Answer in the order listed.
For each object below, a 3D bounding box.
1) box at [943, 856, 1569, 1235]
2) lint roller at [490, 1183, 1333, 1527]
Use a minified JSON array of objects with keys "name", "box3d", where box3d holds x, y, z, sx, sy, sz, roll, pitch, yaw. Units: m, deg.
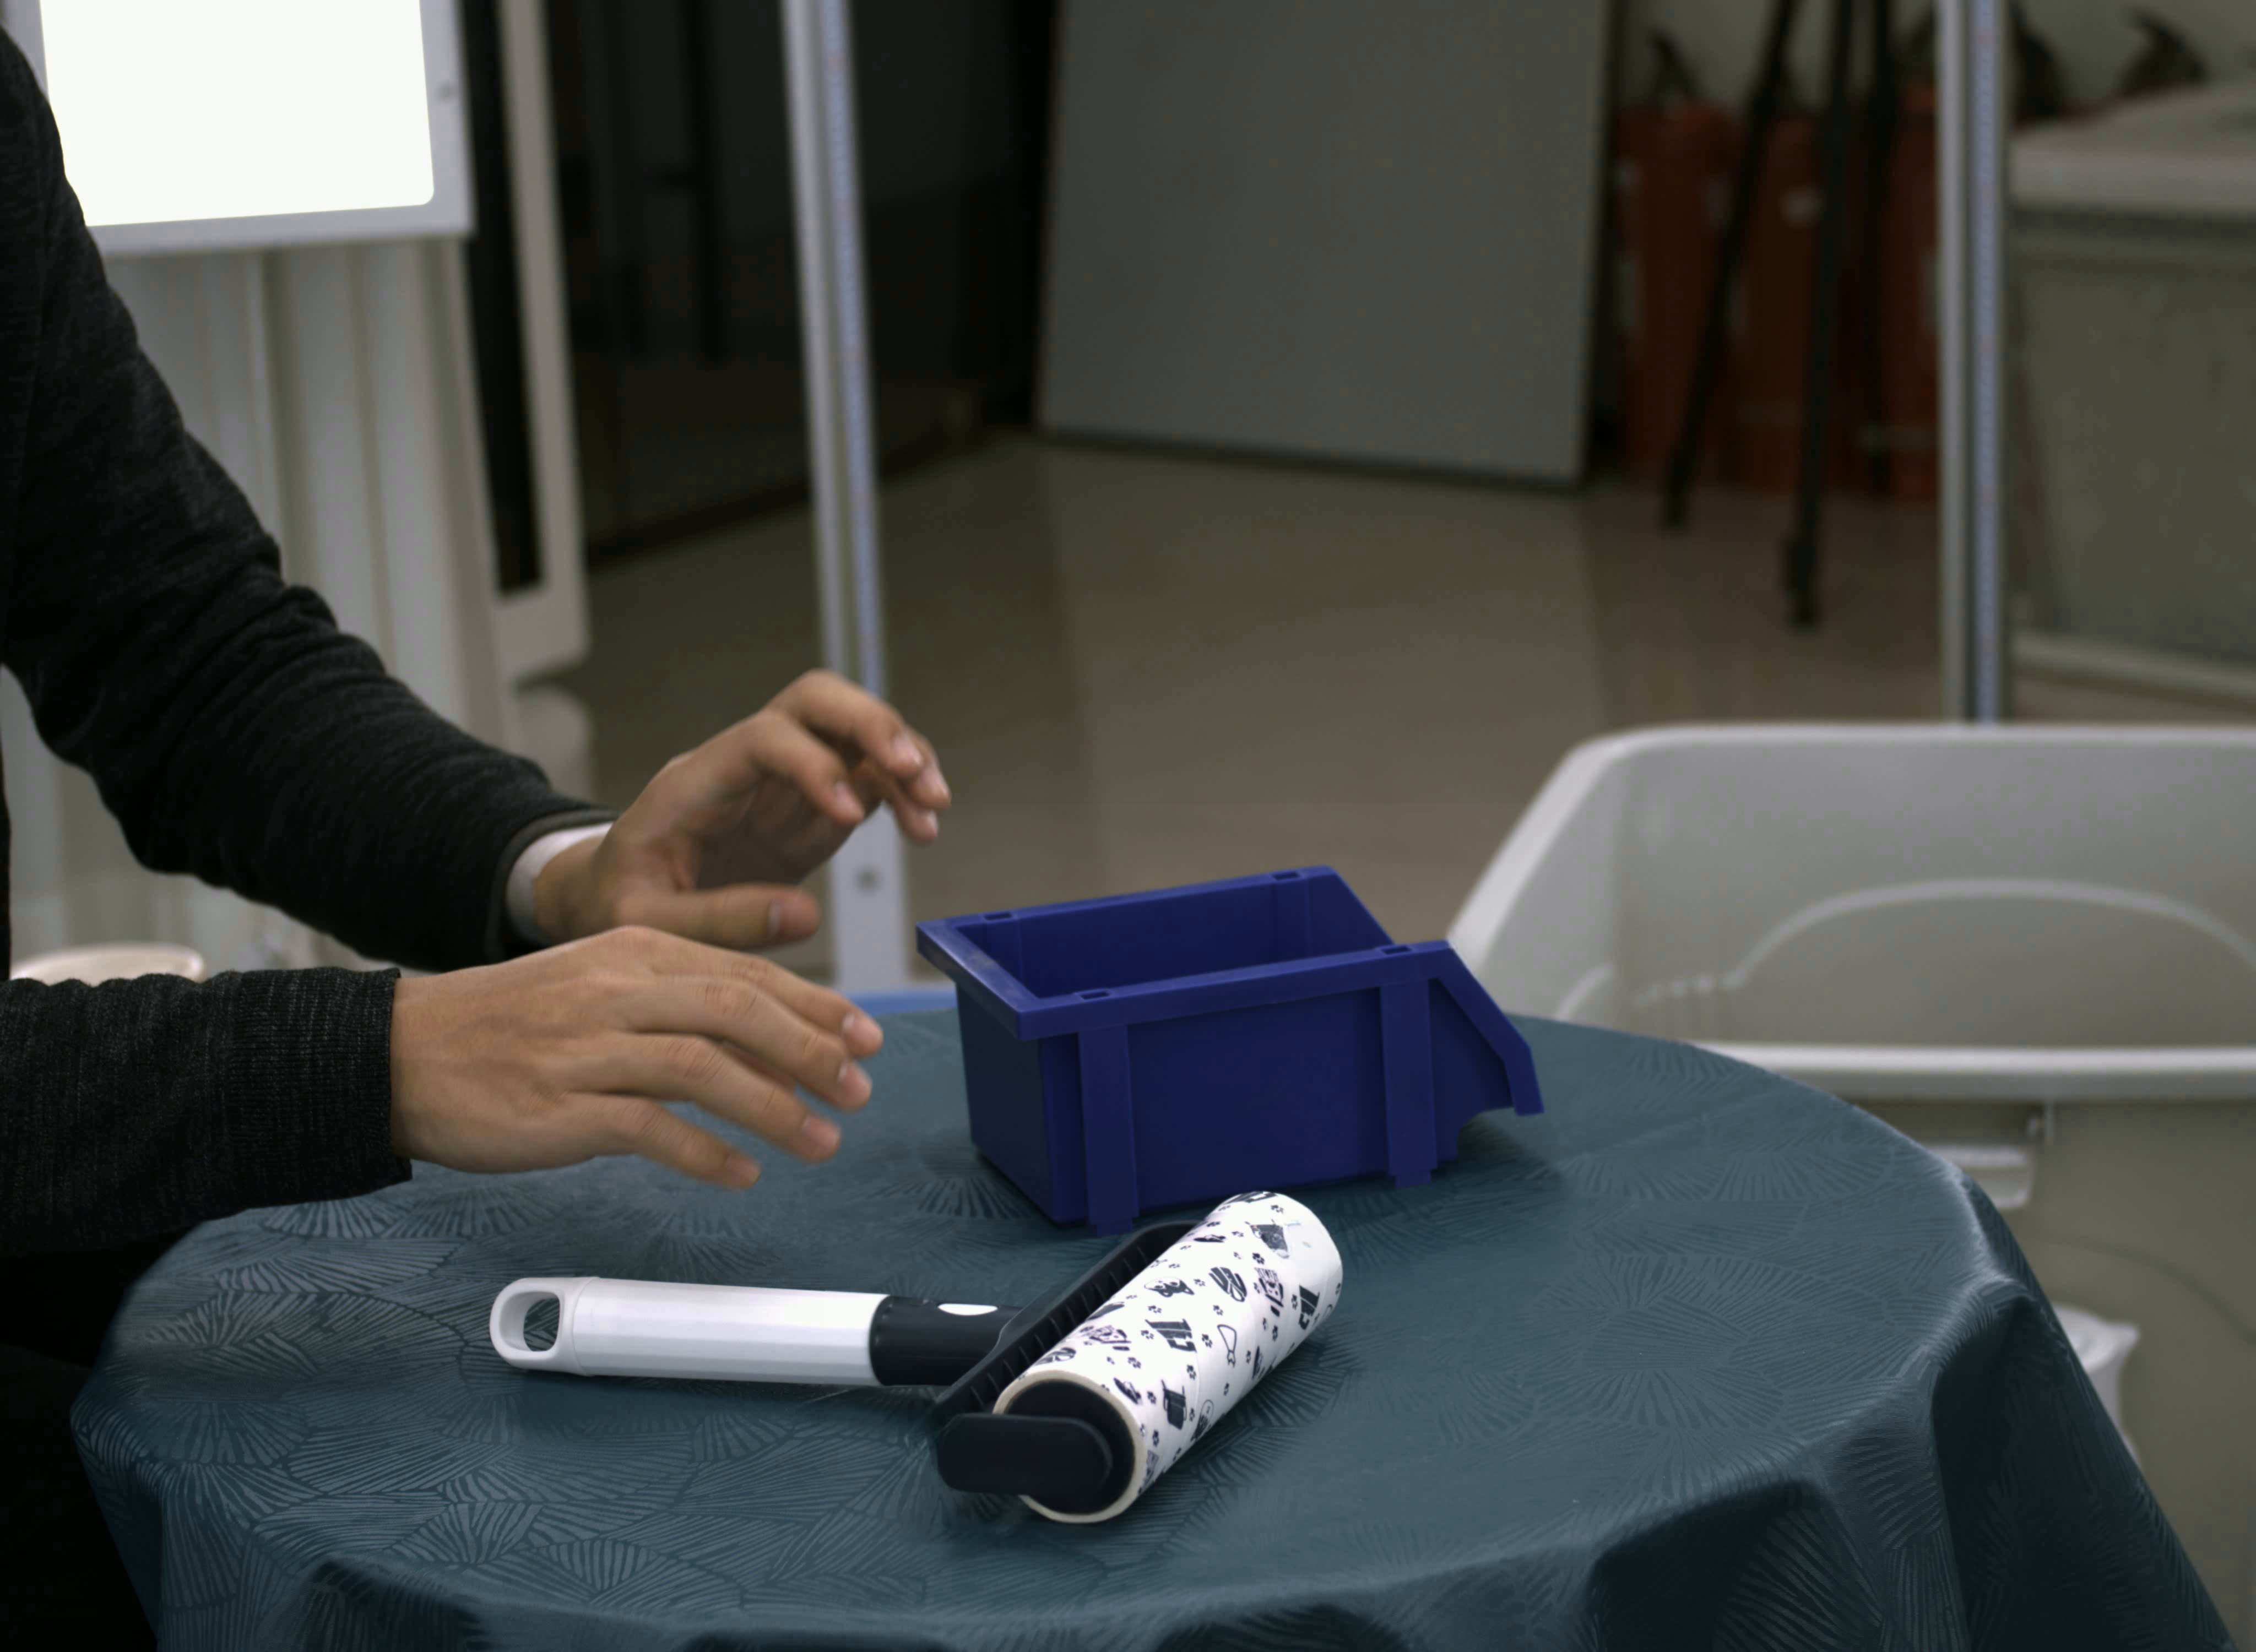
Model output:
[{"name":"box","box3d":[0.042,0.070,1.794,0.176,0.083,0.125,-10,14,-14]},{"name":"lint roller","box3d":[-0.080,0.149,1.588,0.247,0.051,0.174,1,15,24]}]
